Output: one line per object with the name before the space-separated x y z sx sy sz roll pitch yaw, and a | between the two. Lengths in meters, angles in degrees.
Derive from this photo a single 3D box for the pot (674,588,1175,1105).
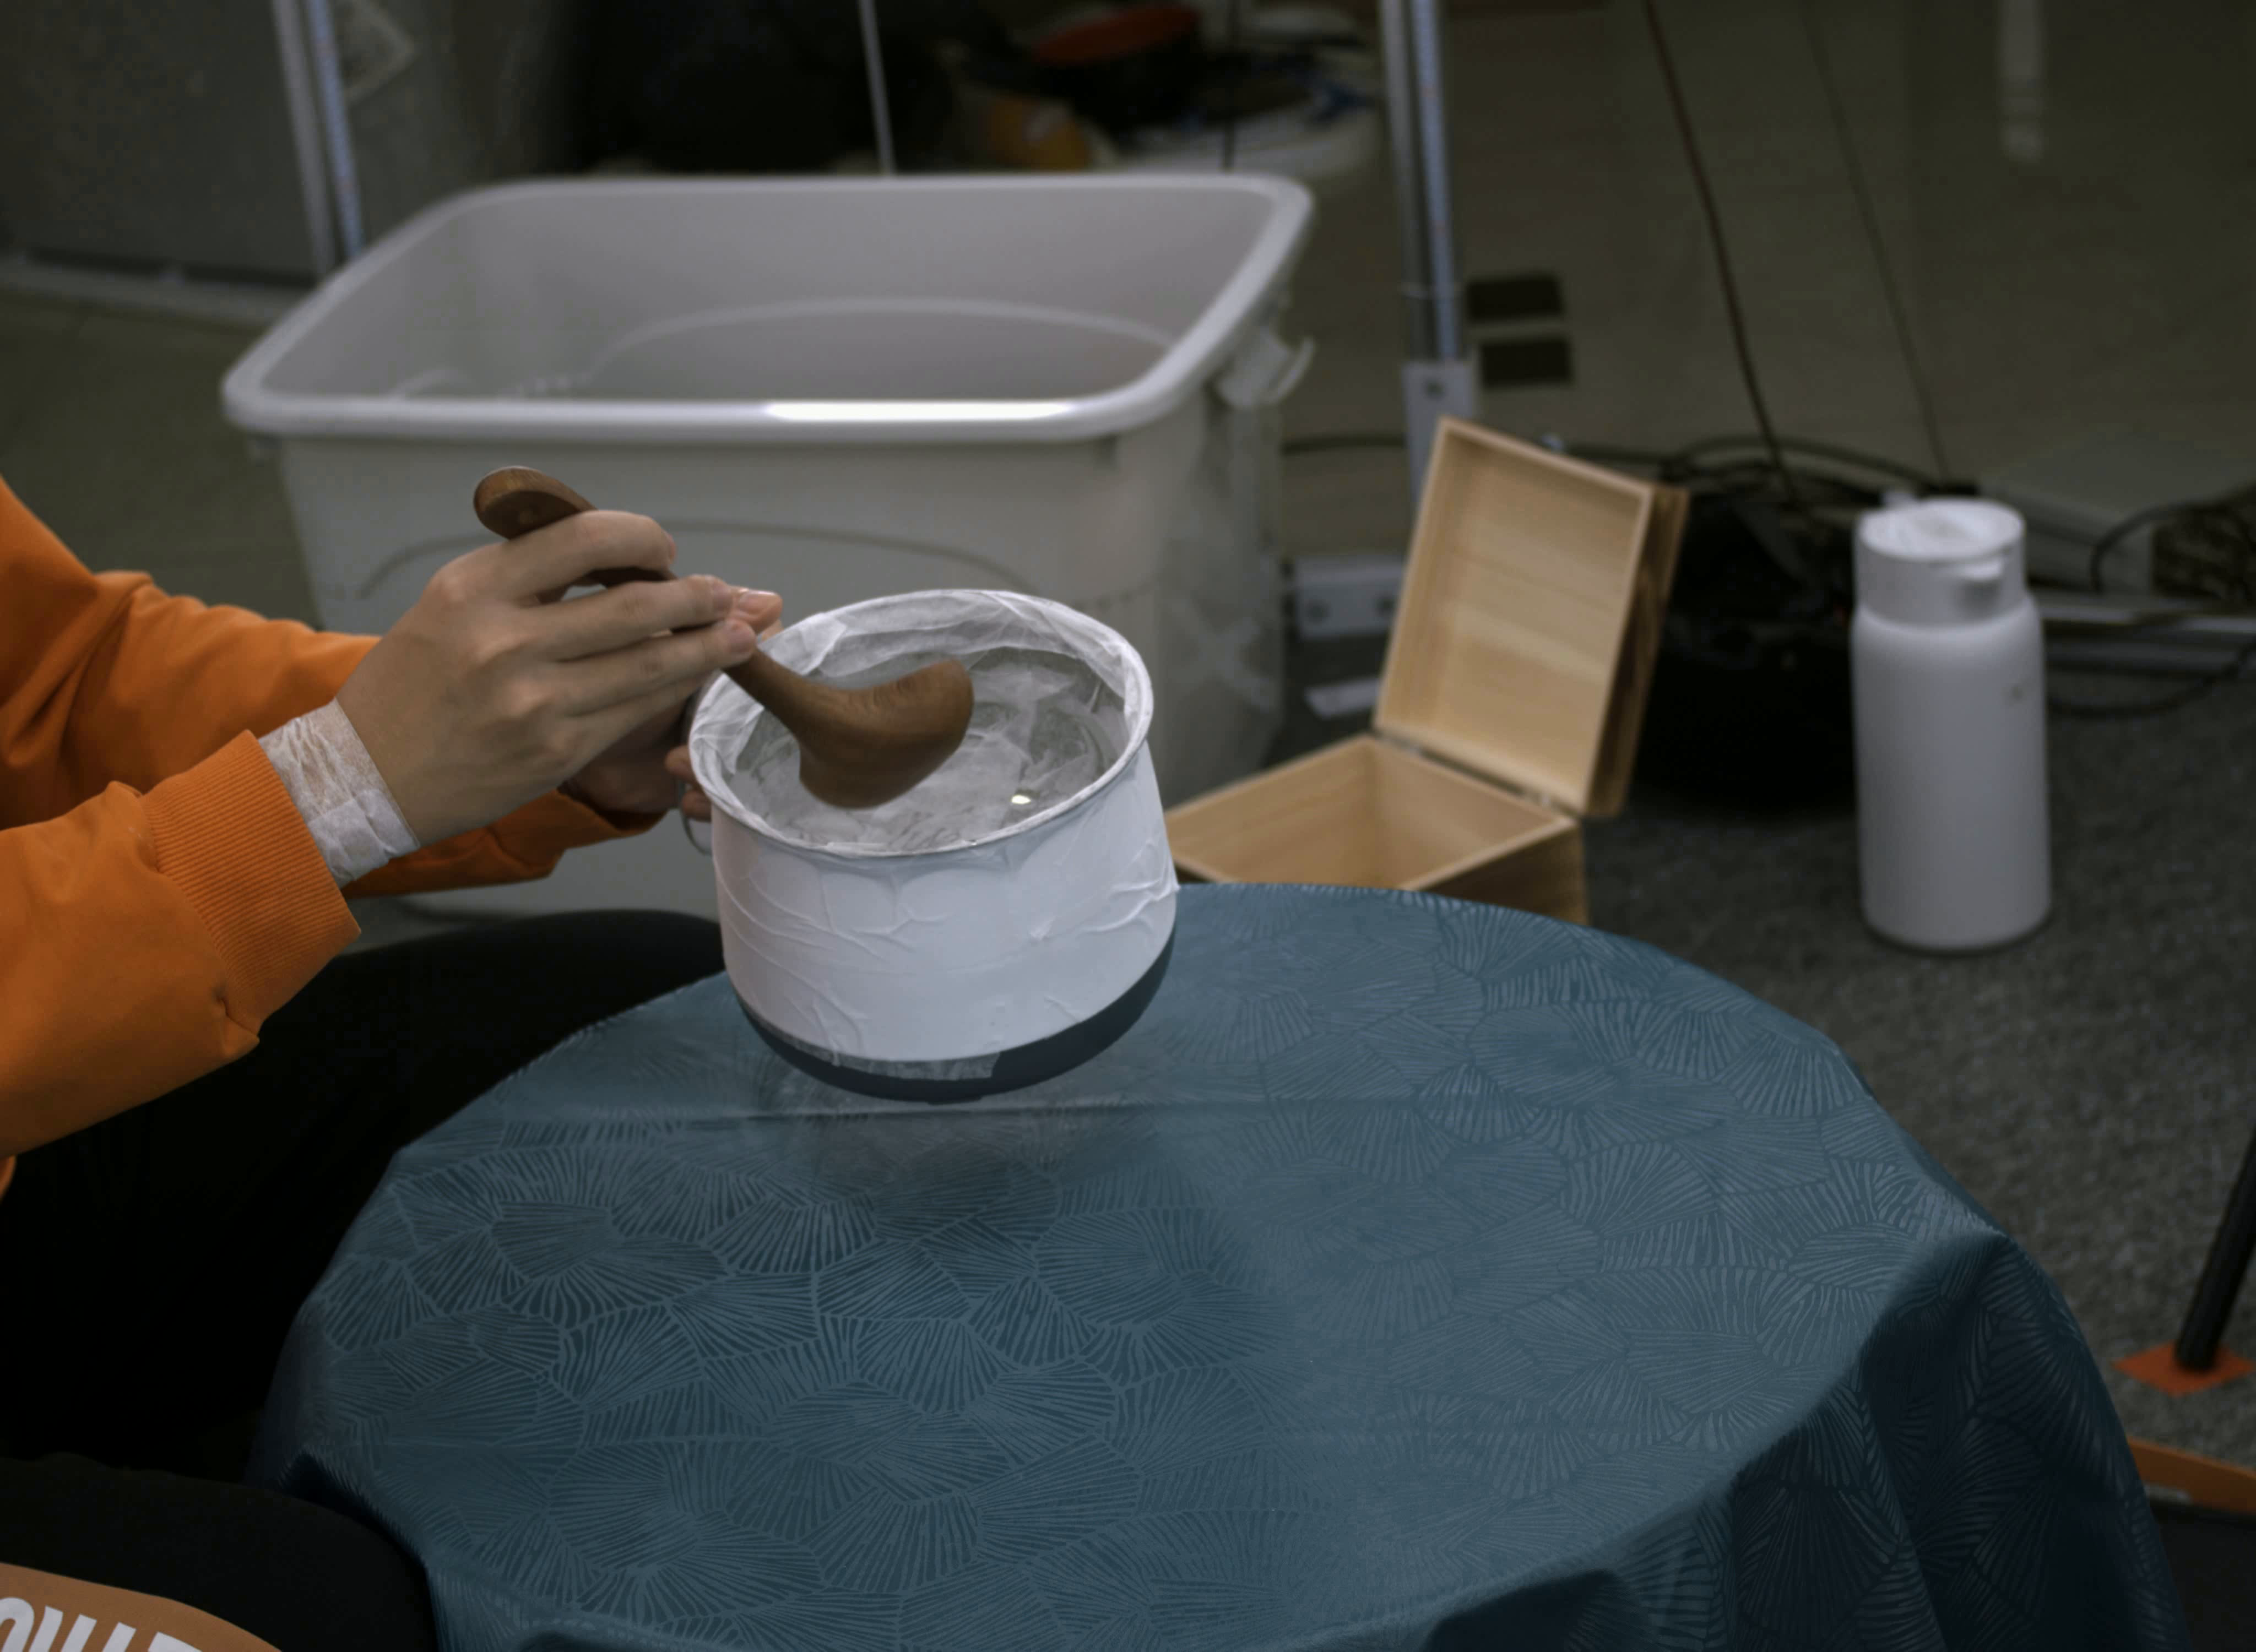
pot | -0.093 0.001 2.184 0.231 0.139 0.177 26 46 36

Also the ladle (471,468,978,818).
ladle | -0.149 -0.075 2.044 0.077 0.263 0.064 -39 43 17
